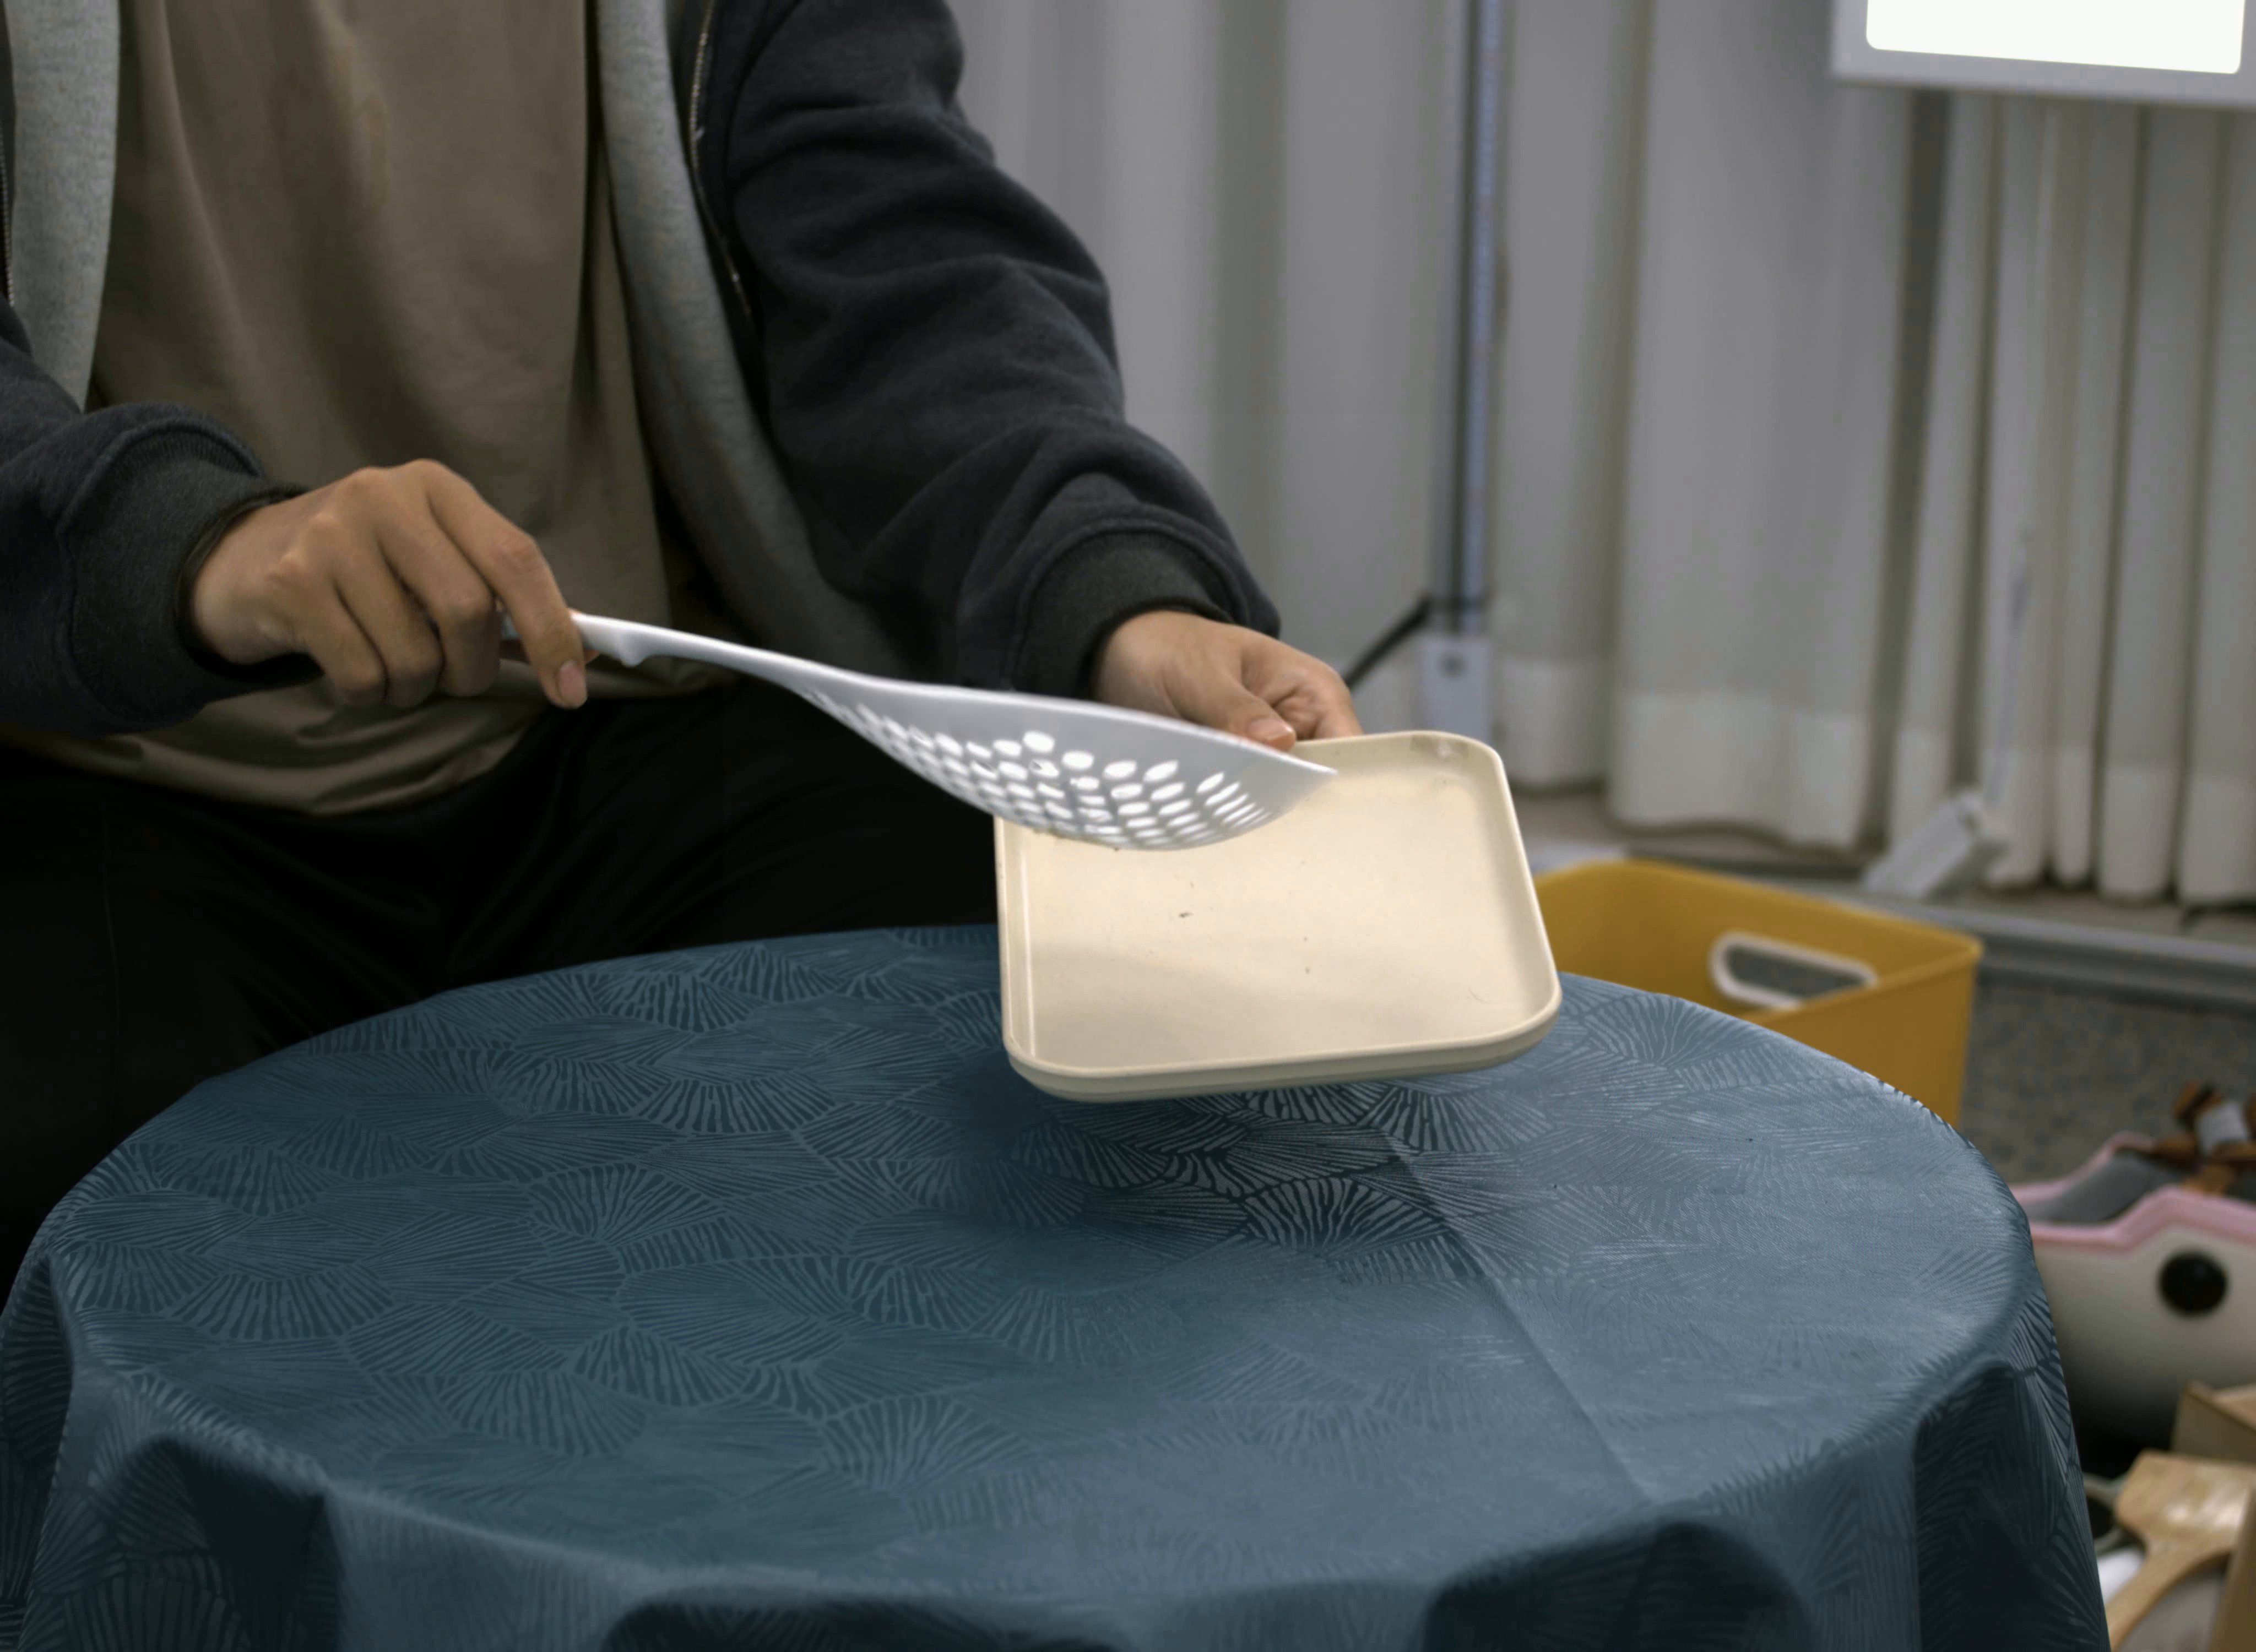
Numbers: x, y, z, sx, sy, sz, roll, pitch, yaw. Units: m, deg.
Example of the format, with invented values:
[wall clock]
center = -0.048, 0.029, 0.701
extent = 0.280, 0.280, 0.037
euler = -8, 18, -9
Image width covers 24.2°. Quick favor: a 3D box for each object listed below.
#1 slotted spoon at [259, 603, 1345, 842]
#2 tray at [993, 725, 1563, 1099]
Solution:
[slotted spoon]
center = -0.104, -0.042, 1.602
extent = 0.344, 0.050, 0.138
euler = 14, -1, 19
[tray]
center = 0.044, 0.026, 1.668
extent = 0.171, 0.017, 0.238
euler = -5, 24, 0
